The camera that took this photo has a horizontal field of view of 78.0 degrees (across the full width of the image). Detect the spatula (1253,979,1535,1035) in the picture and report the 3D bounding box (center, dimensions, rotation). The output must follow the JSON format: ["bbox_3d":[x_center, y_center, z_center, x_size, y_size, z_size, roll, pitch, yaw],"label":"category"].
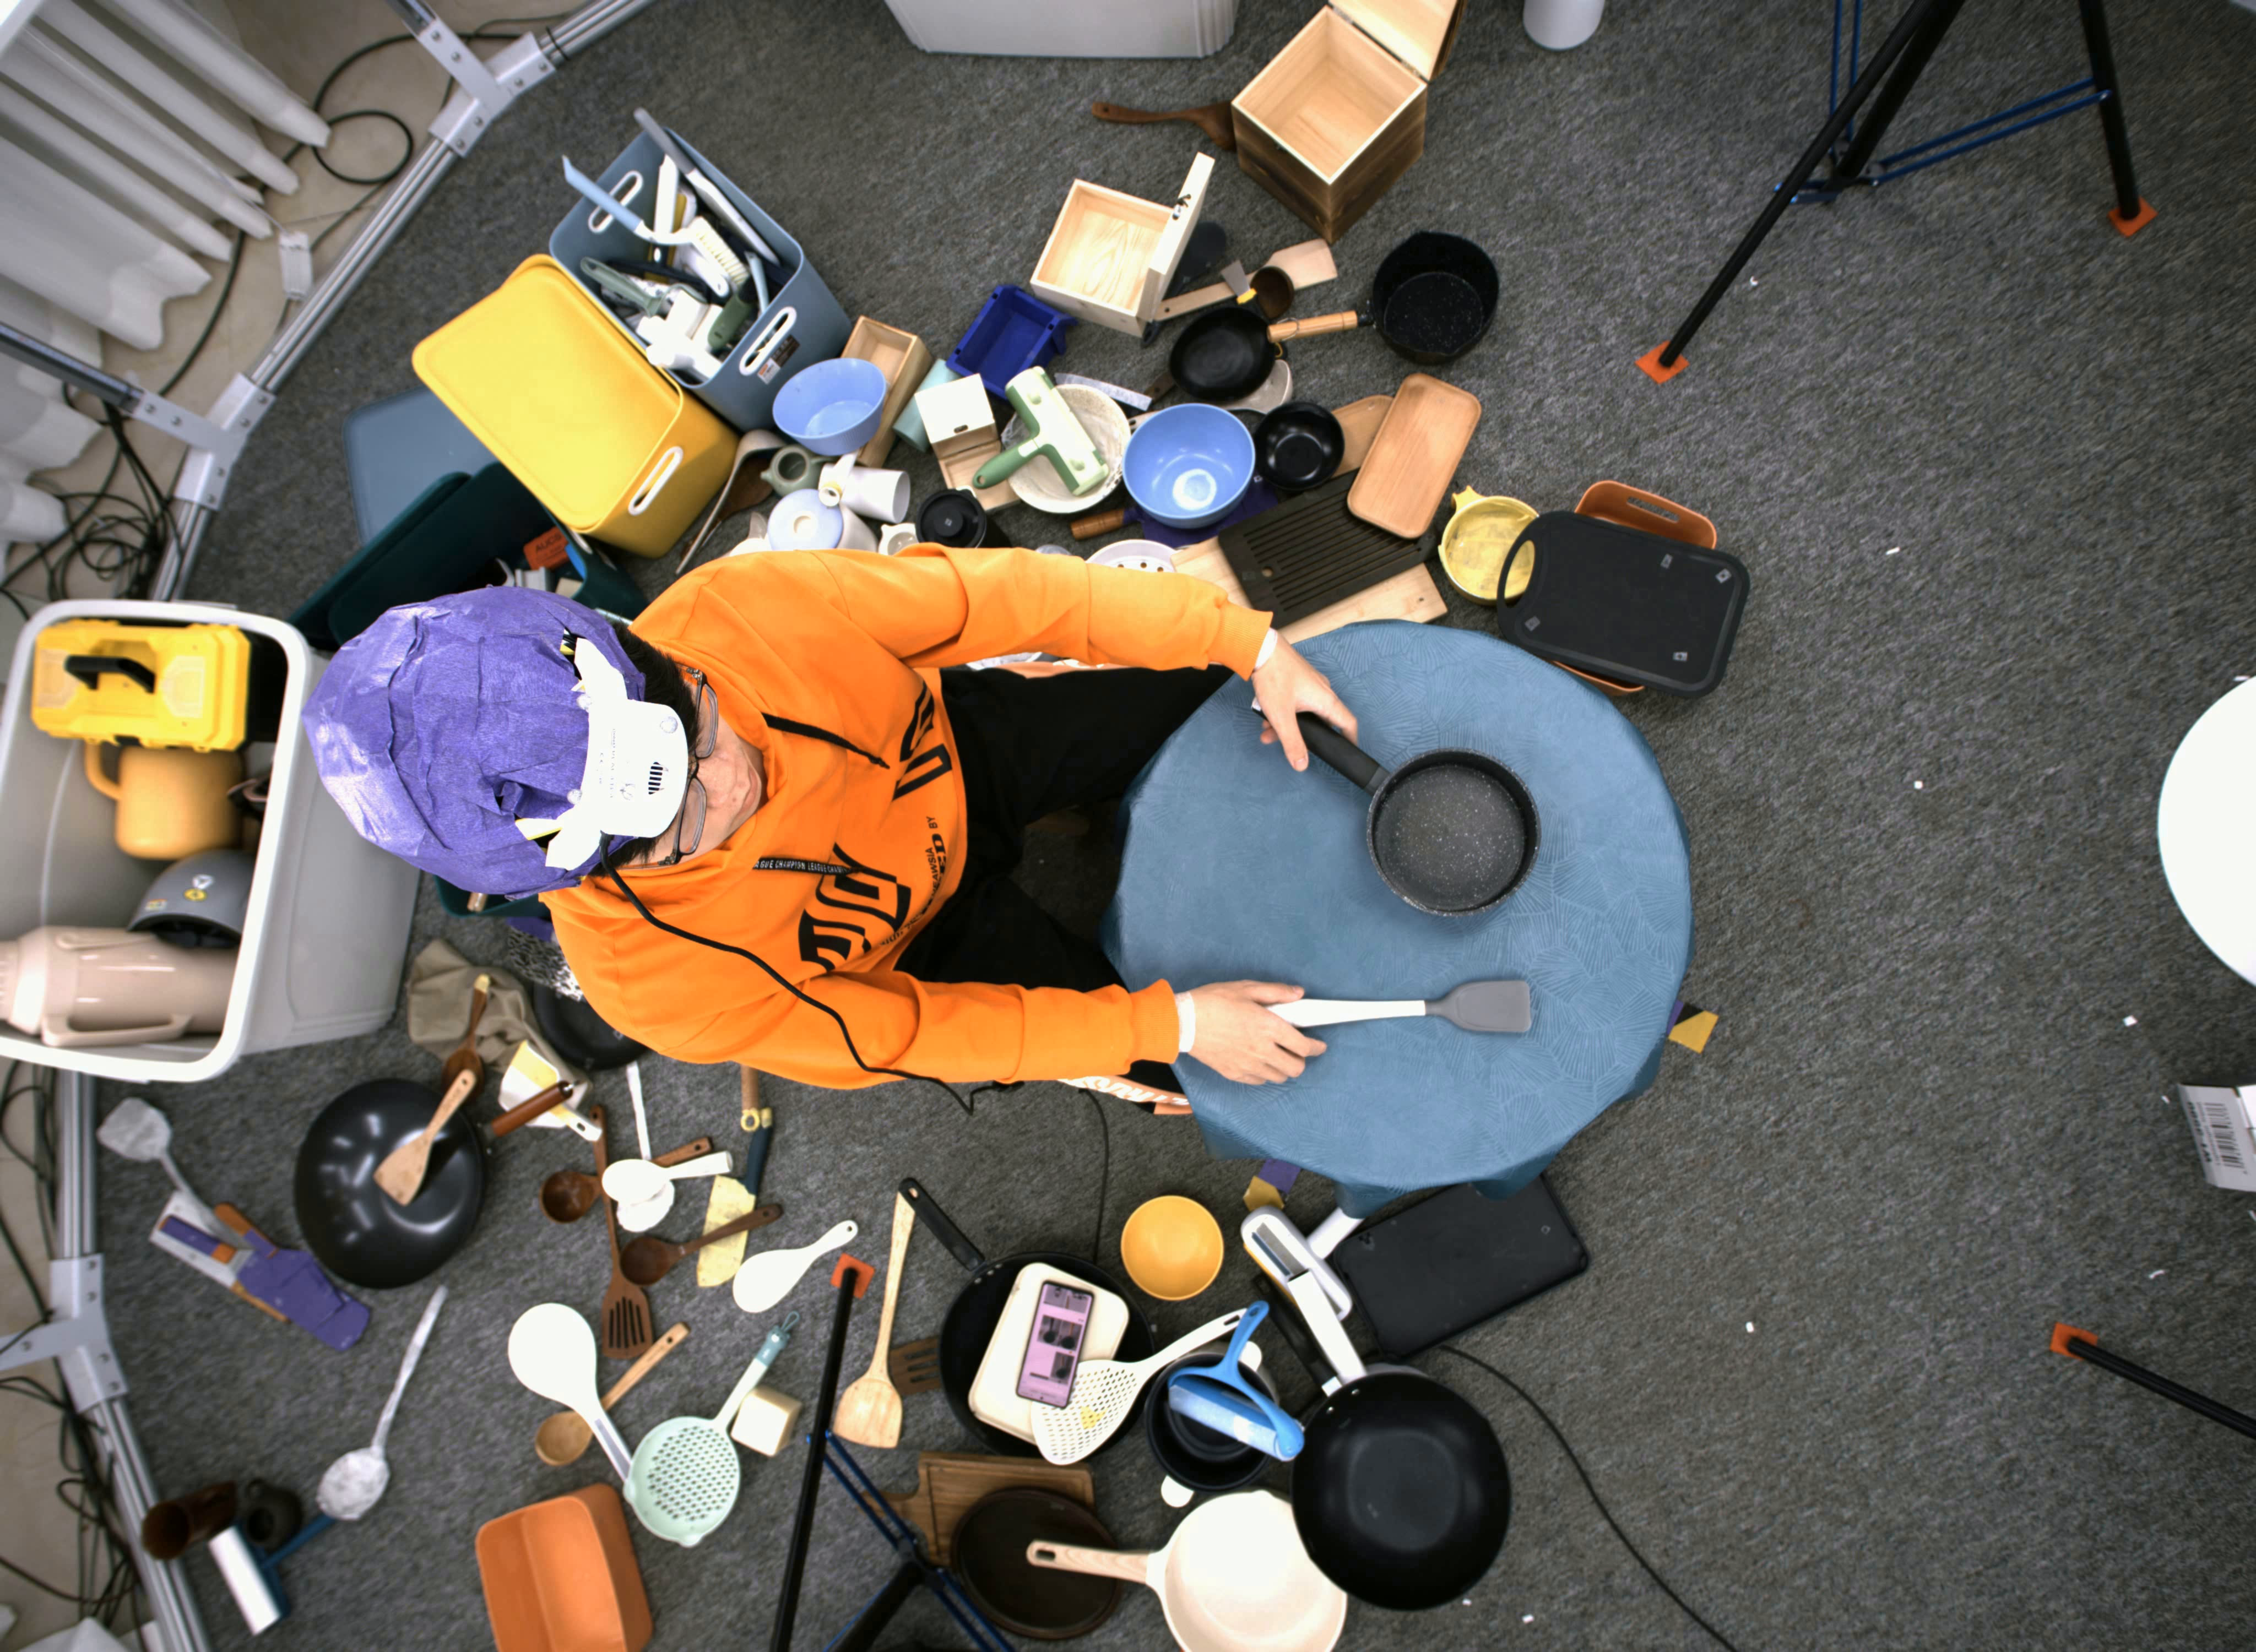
[{"bbox_3d":[0.274,0.190,1.437,0.289,0.032,0.058,-3,81,11],"label":"spatula"}]

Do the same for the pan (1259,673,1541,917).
[{"bbox_3d":[0.271,-0.041,1.423,0.328,0.086,0.172,39,93,9],"label":"pan"}]
